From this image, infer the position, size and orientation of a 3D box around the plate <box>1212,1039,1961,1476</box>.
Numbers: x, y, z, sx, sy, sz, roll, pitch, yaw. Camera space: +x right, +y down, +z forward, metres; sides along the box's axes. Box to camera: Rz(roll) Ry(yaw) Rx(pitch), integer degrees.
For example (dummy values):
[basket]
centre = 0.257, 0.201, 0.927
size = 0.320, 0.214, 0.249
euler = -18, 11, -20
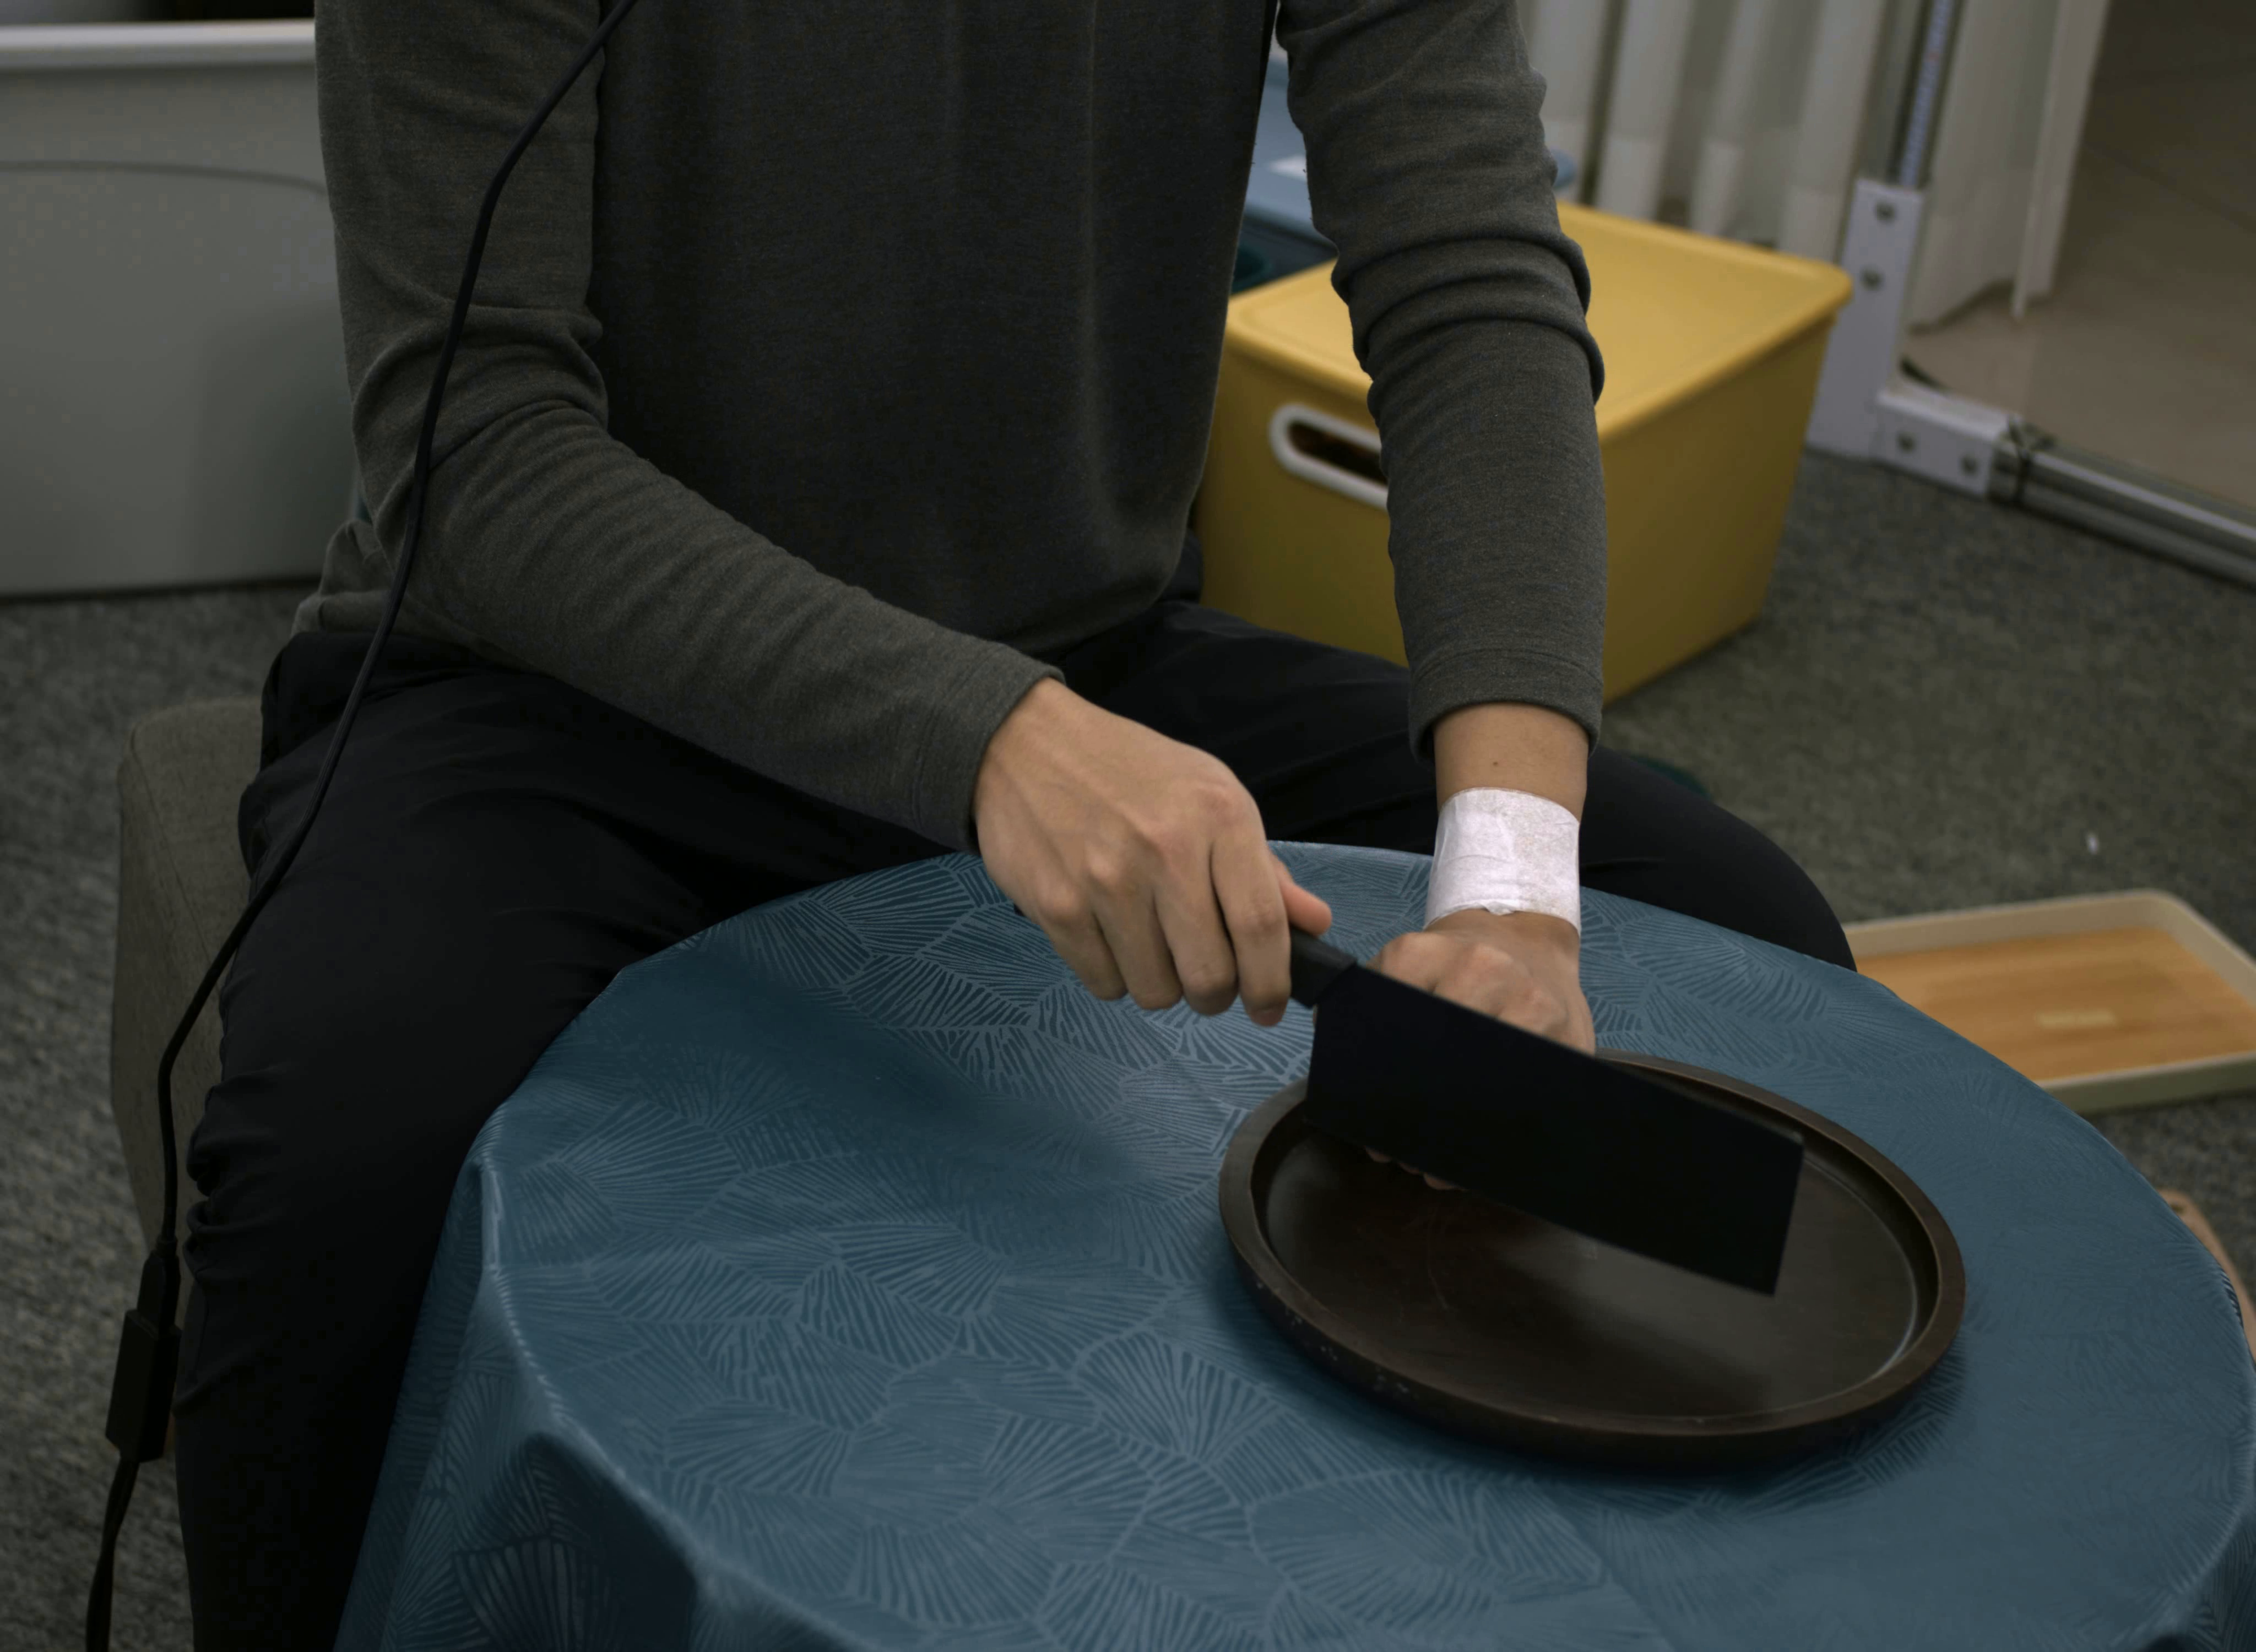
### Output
[plate]
centre = 0.152, 0.142, 1.780
size = 0.254, 0.029, 0.256
euler = 4, 27, -3

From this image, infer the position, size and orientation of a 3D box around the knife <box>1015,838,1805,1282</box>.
[knife]
centre = 0.089, 0.073, 1.777
size = 0.304, 0.081, 0.021
euler = 25, 29, 25
